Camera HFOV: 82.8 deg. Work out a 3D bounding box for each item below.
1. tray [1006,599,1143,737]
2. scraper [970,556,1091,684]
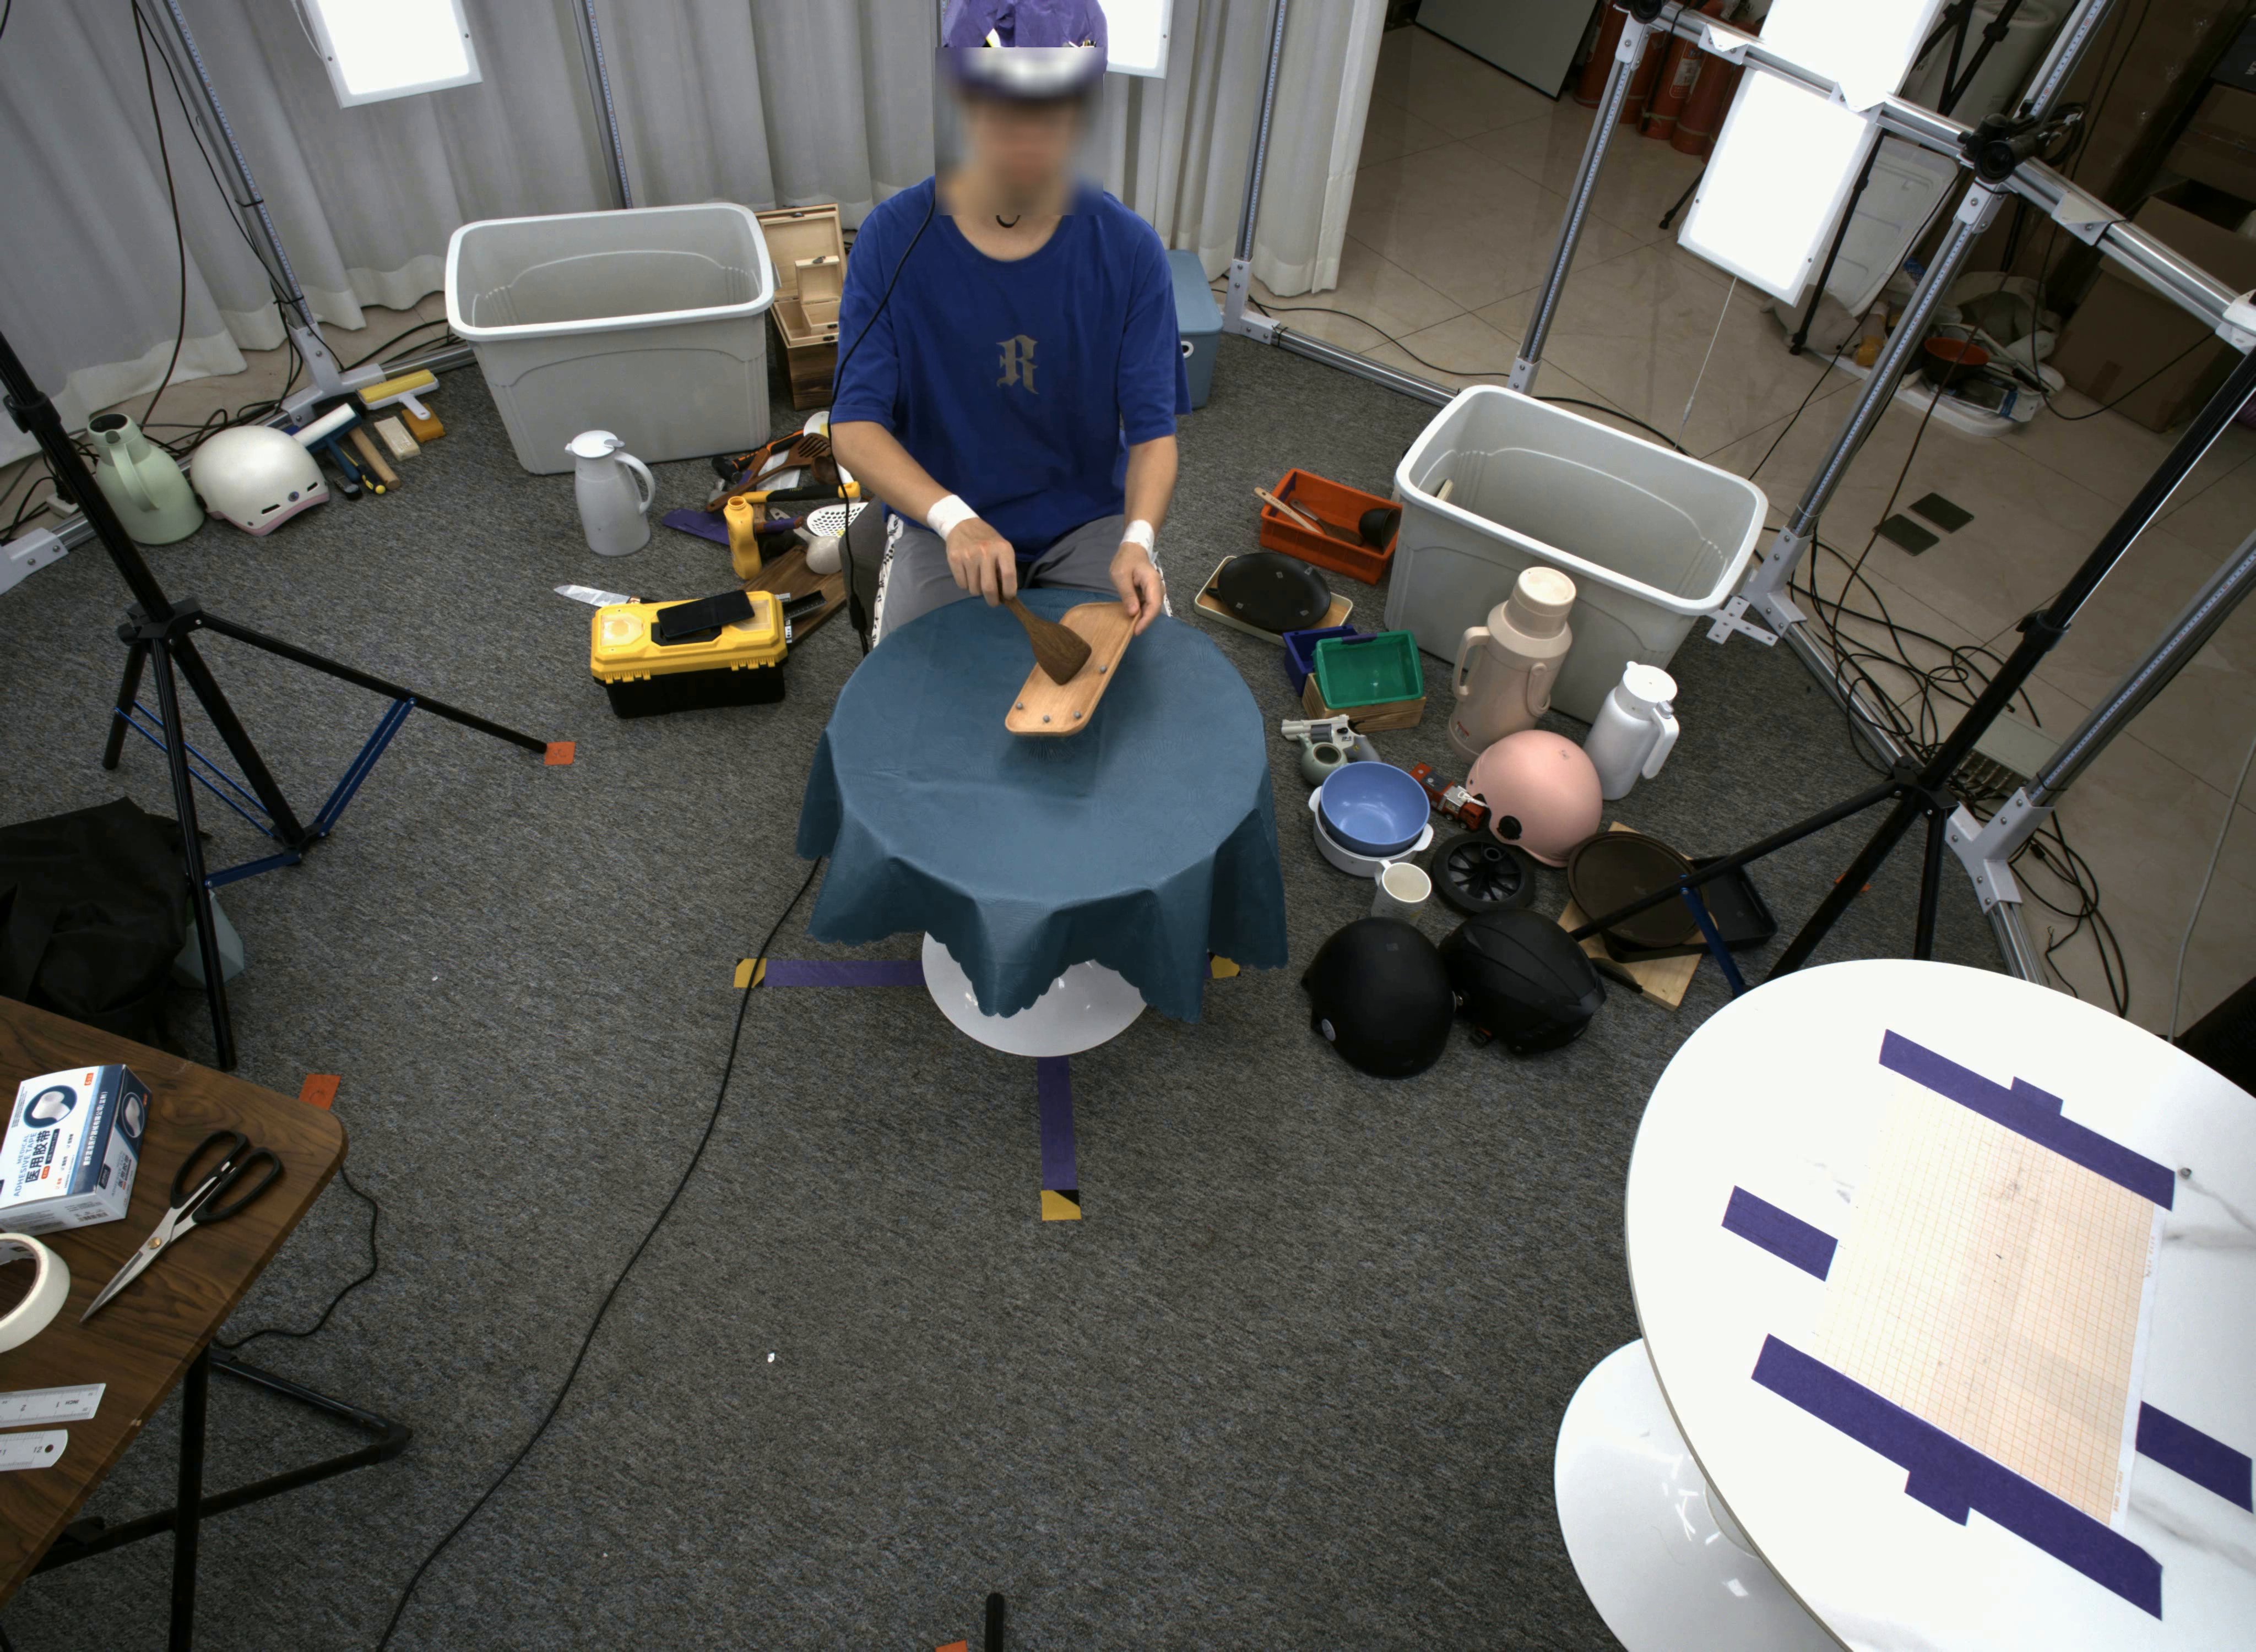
[{"bbox_3d":[-0.071,-0.217,1.751,0.131,0.022,0.255,5,52,30],"label":"tray"},{"bbox_3d":[-0.138,-0.285,1.737,0.213,0.075,0.011,47,29,10],"label":"scraper"}]
